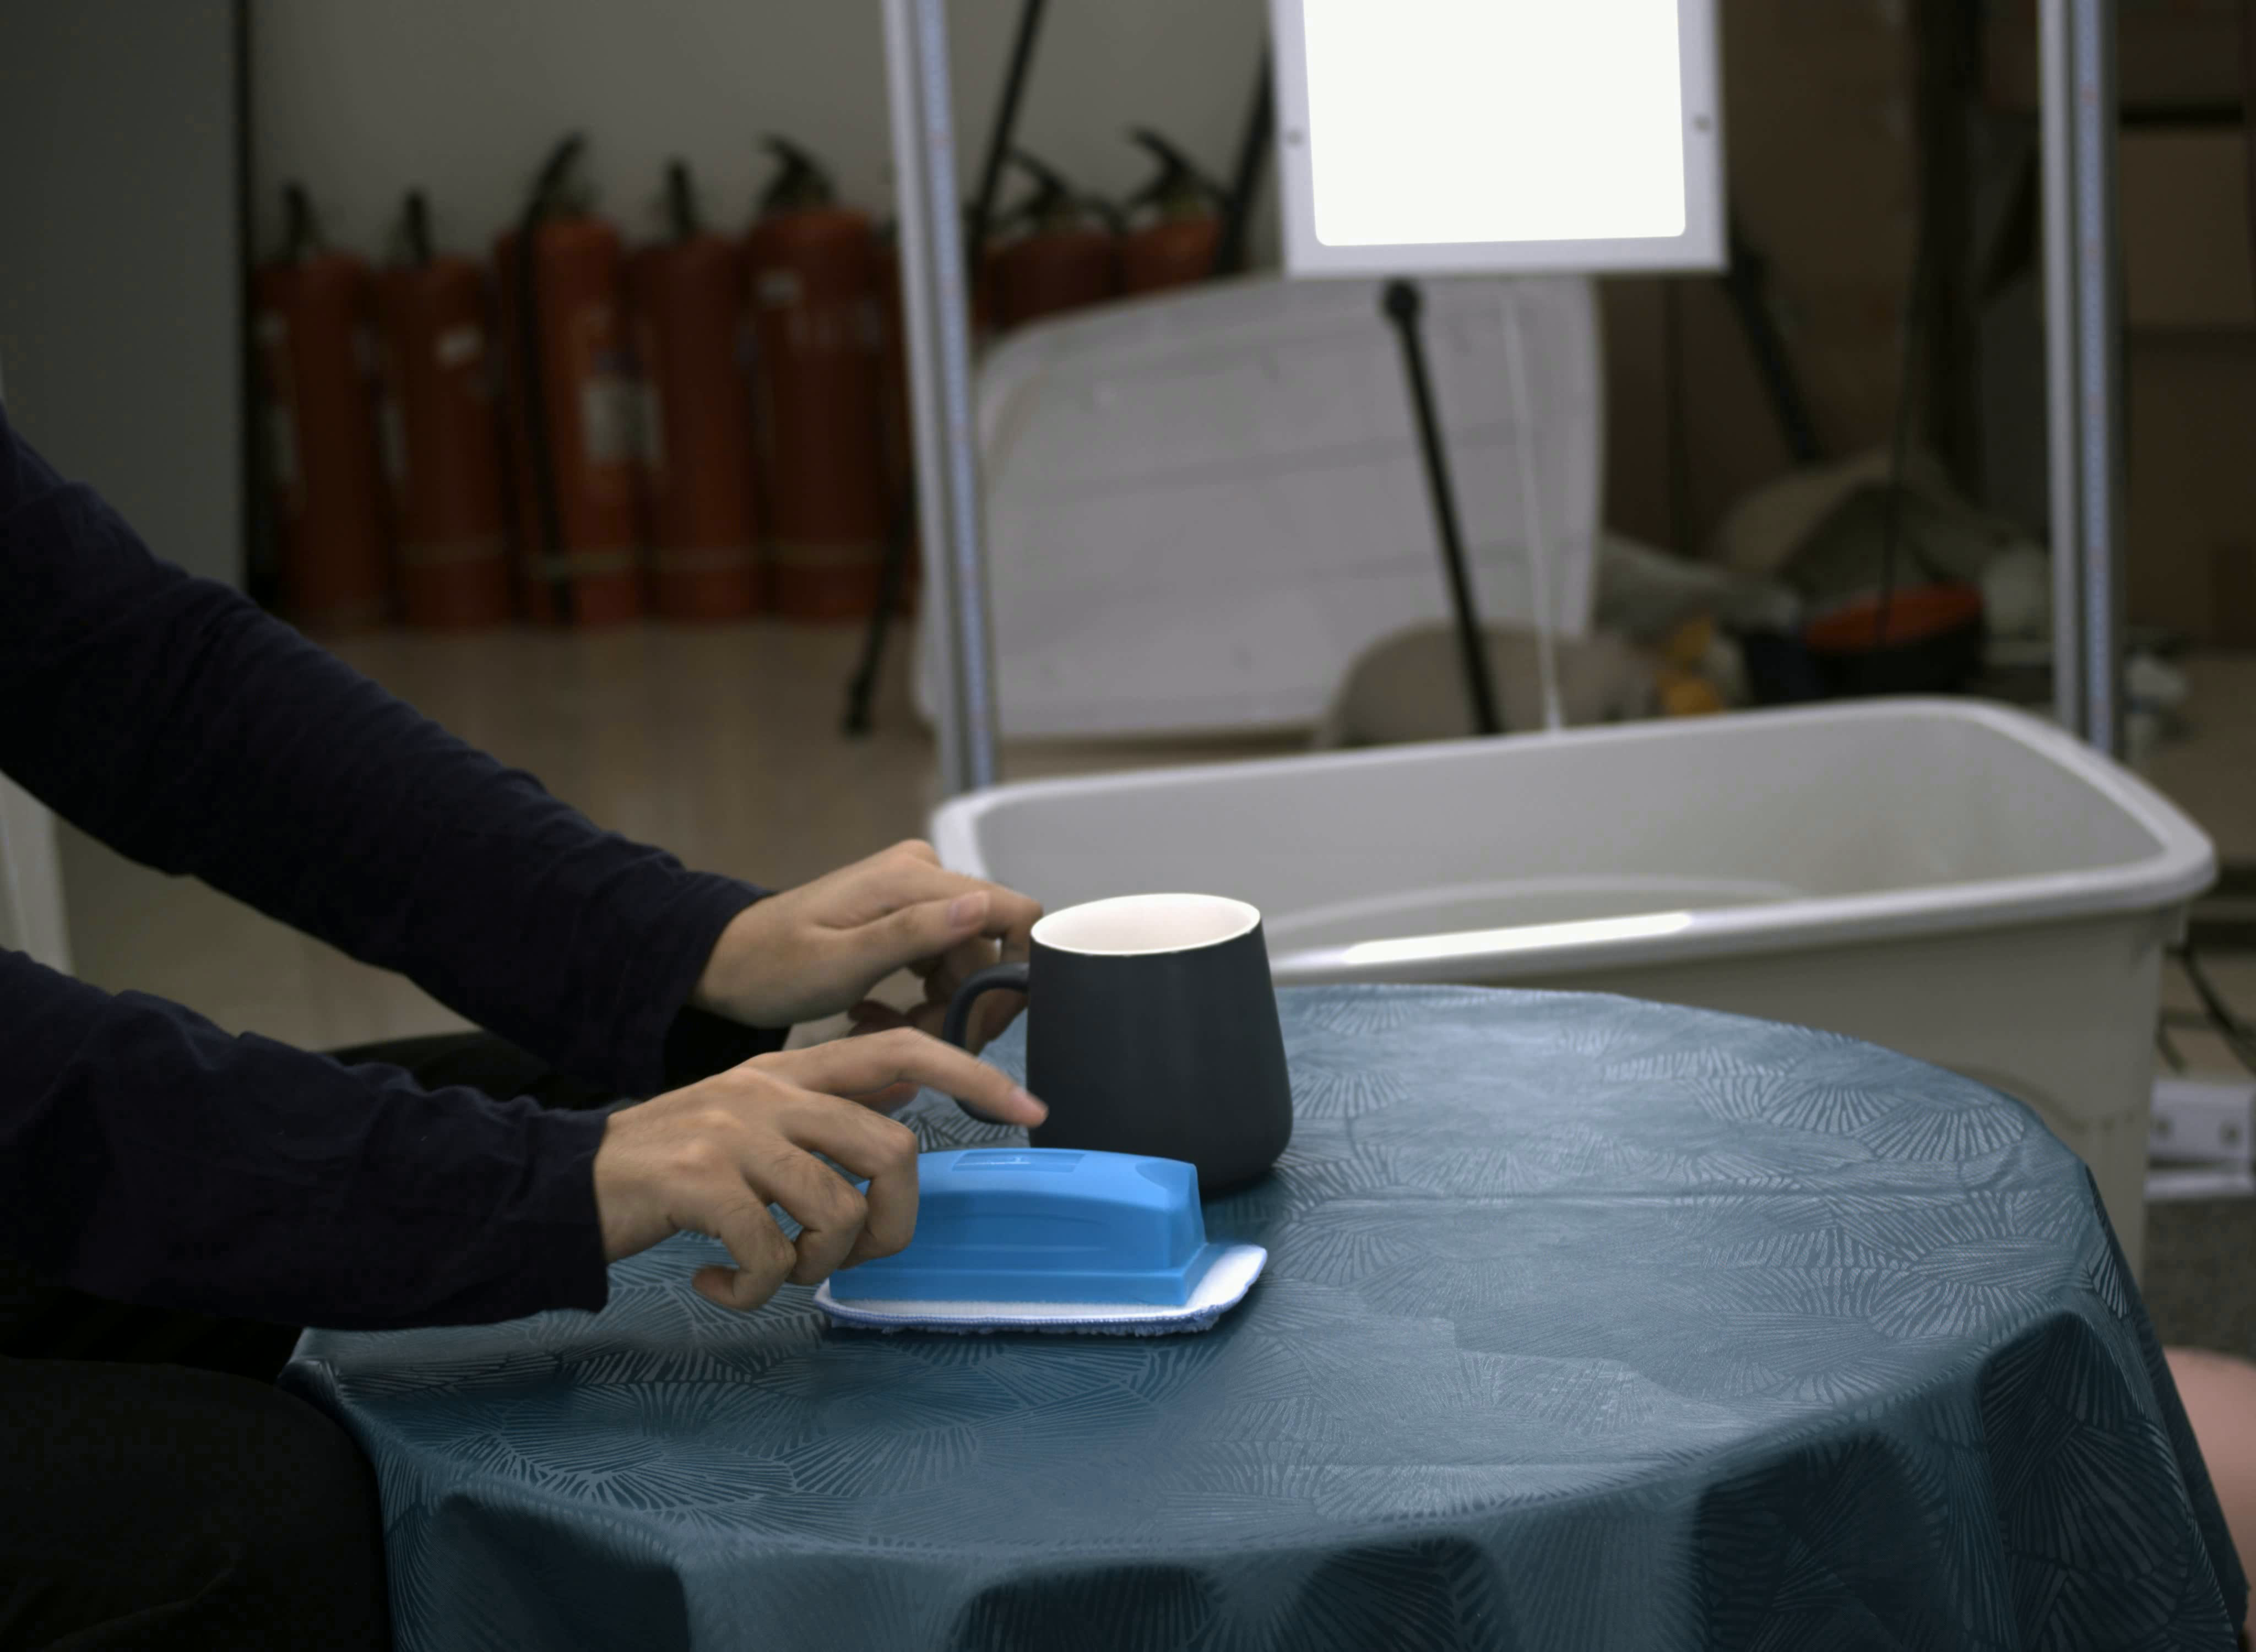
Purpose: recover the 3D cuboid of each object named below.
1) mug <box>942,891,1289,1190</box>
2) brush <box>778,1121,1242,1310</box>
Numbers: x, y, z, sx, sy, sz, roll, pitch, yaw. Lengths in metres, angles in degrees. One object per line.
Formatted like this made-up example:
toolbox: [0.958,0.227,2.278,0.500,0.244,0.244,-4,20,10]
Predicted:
mug: [-0.005,0.074,1.914,0.124,0.090,0.092,2,13,18]
brush: [-0.038,0.126,1.786,0.146,0.056,0.082,3,12,19]
